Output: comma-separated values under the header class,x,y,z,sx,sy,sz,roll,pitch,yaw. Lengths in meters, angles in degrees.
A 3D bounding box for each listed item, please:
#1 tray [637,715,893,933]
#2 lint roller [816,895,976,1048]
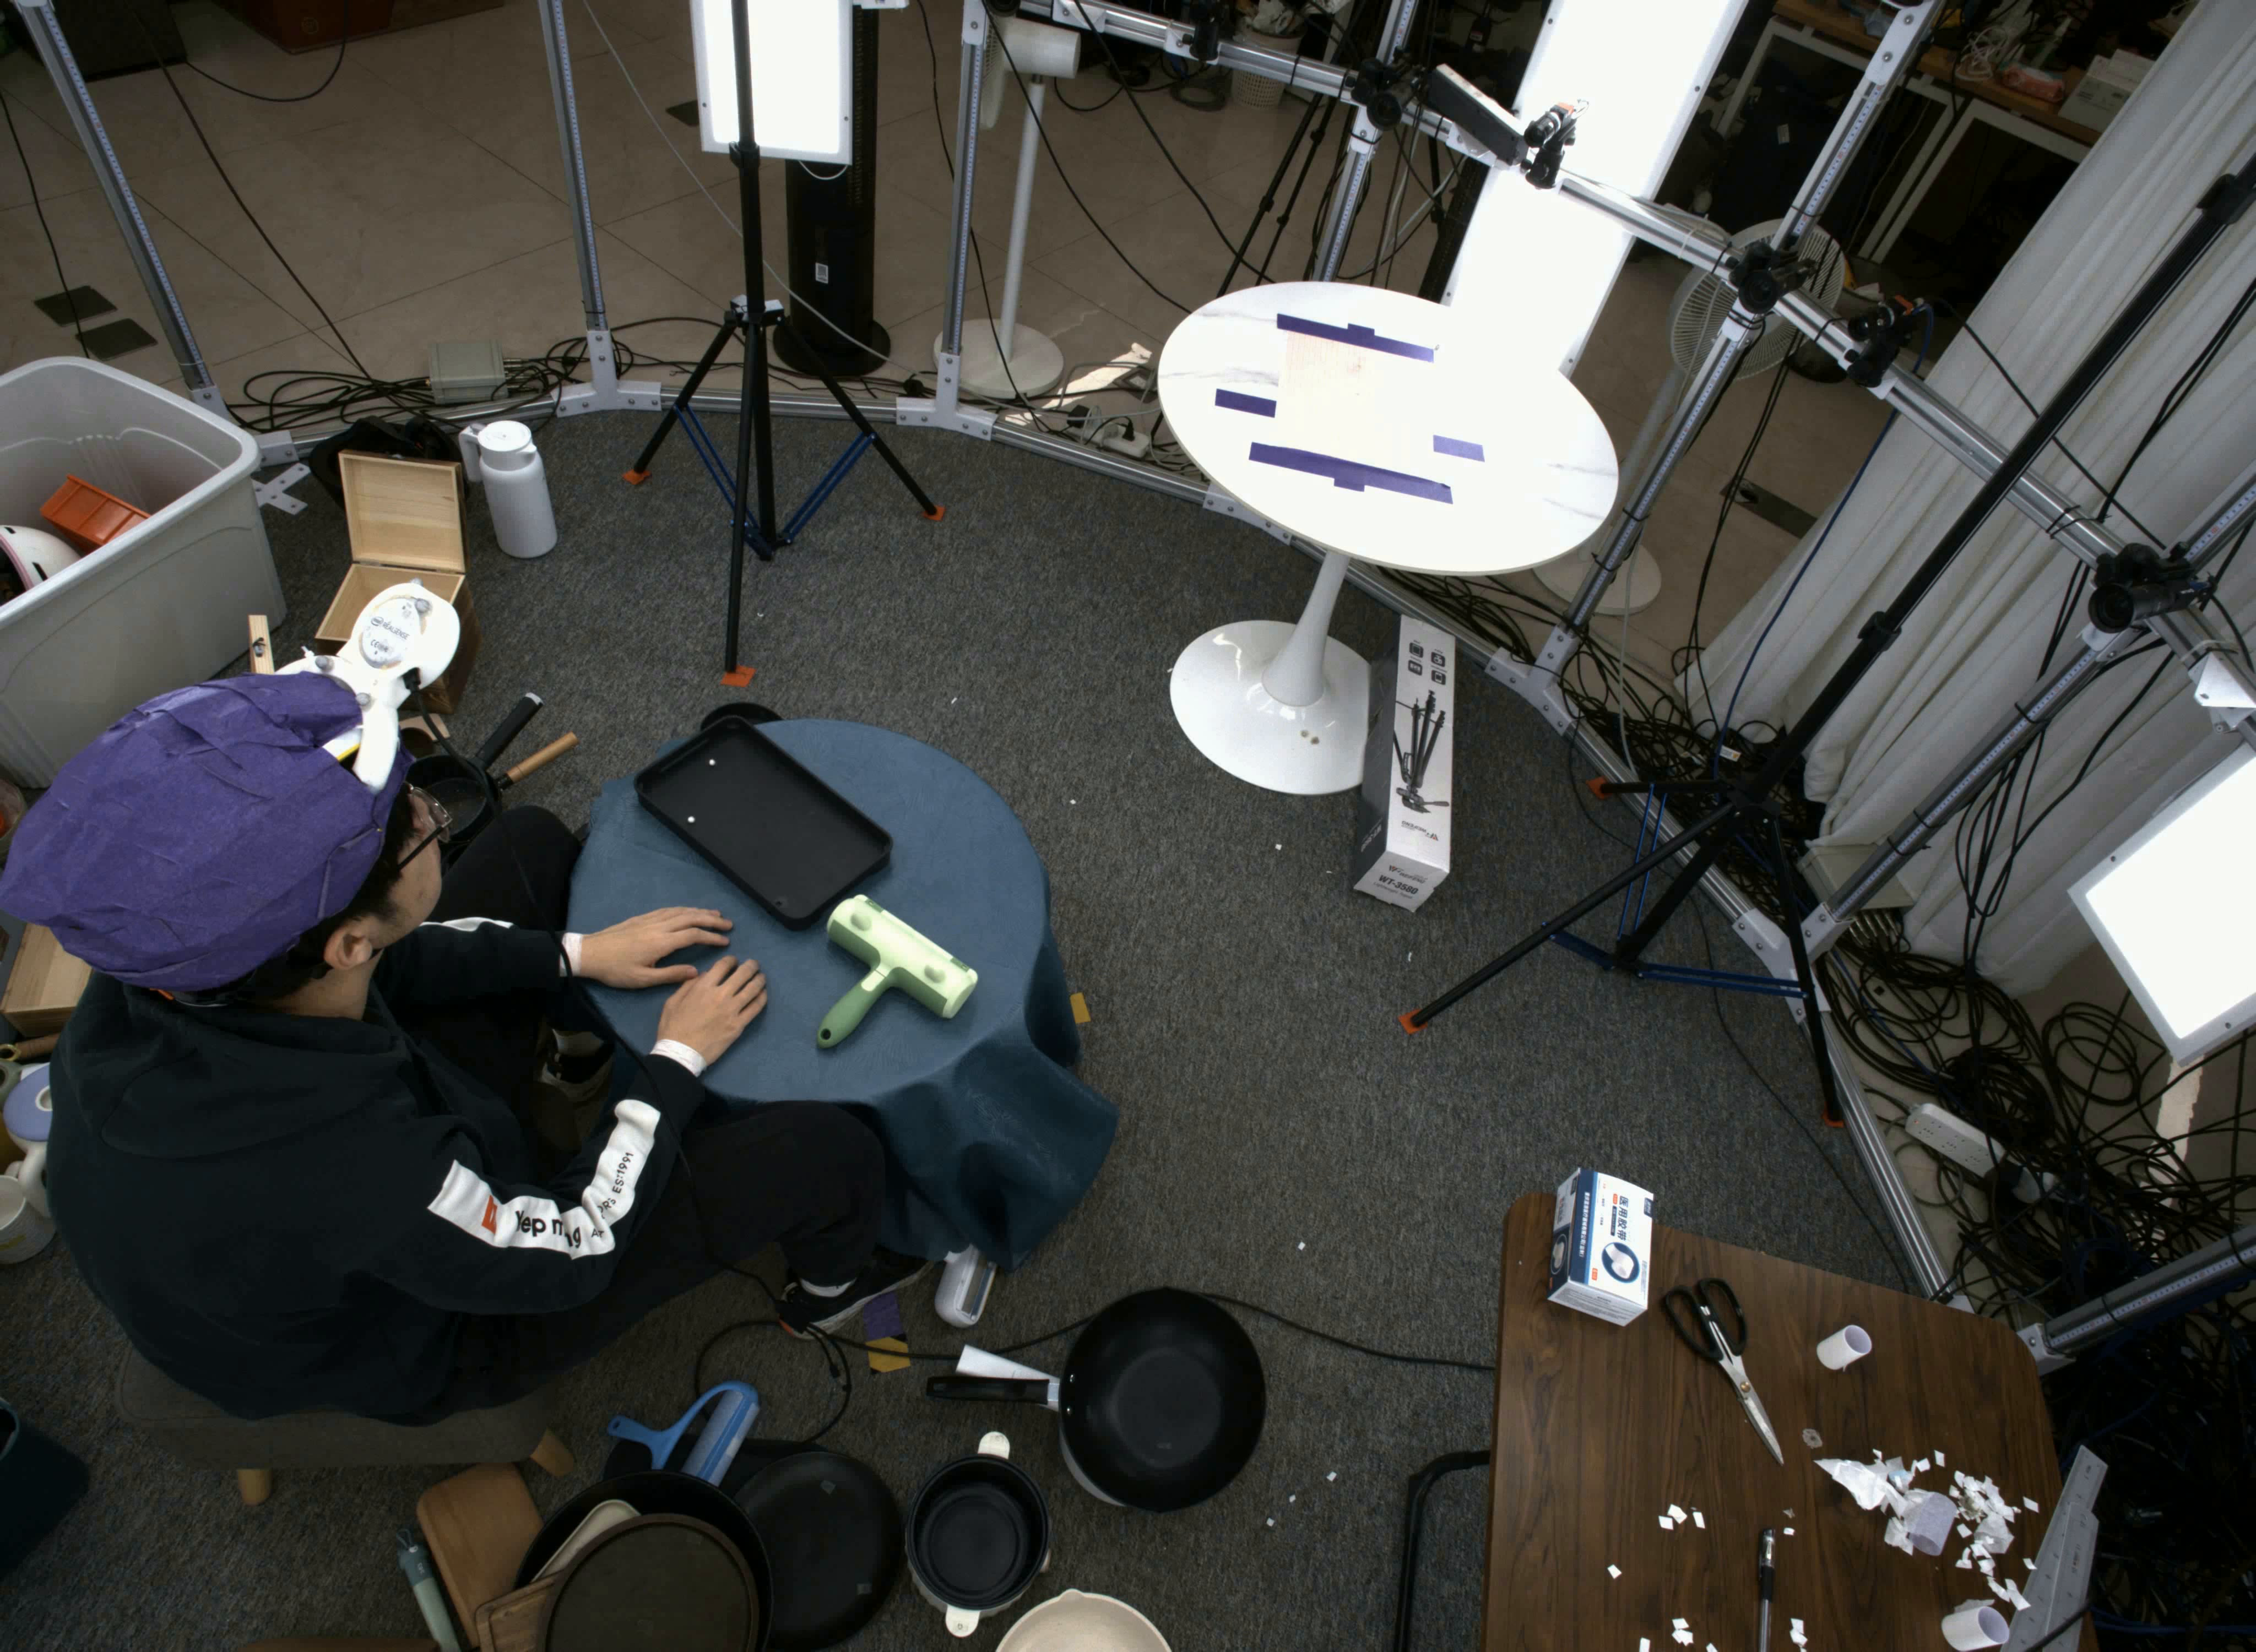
class,x,y,z,sx,sy,sz,roll,pitch,yaw
tray,-0.478,-0.009,1.699,0.312,0.038,0.184,37,54,13
lint roller,-0.312,0.186,1.571,0.195,0.084,0.183,33,50,11
